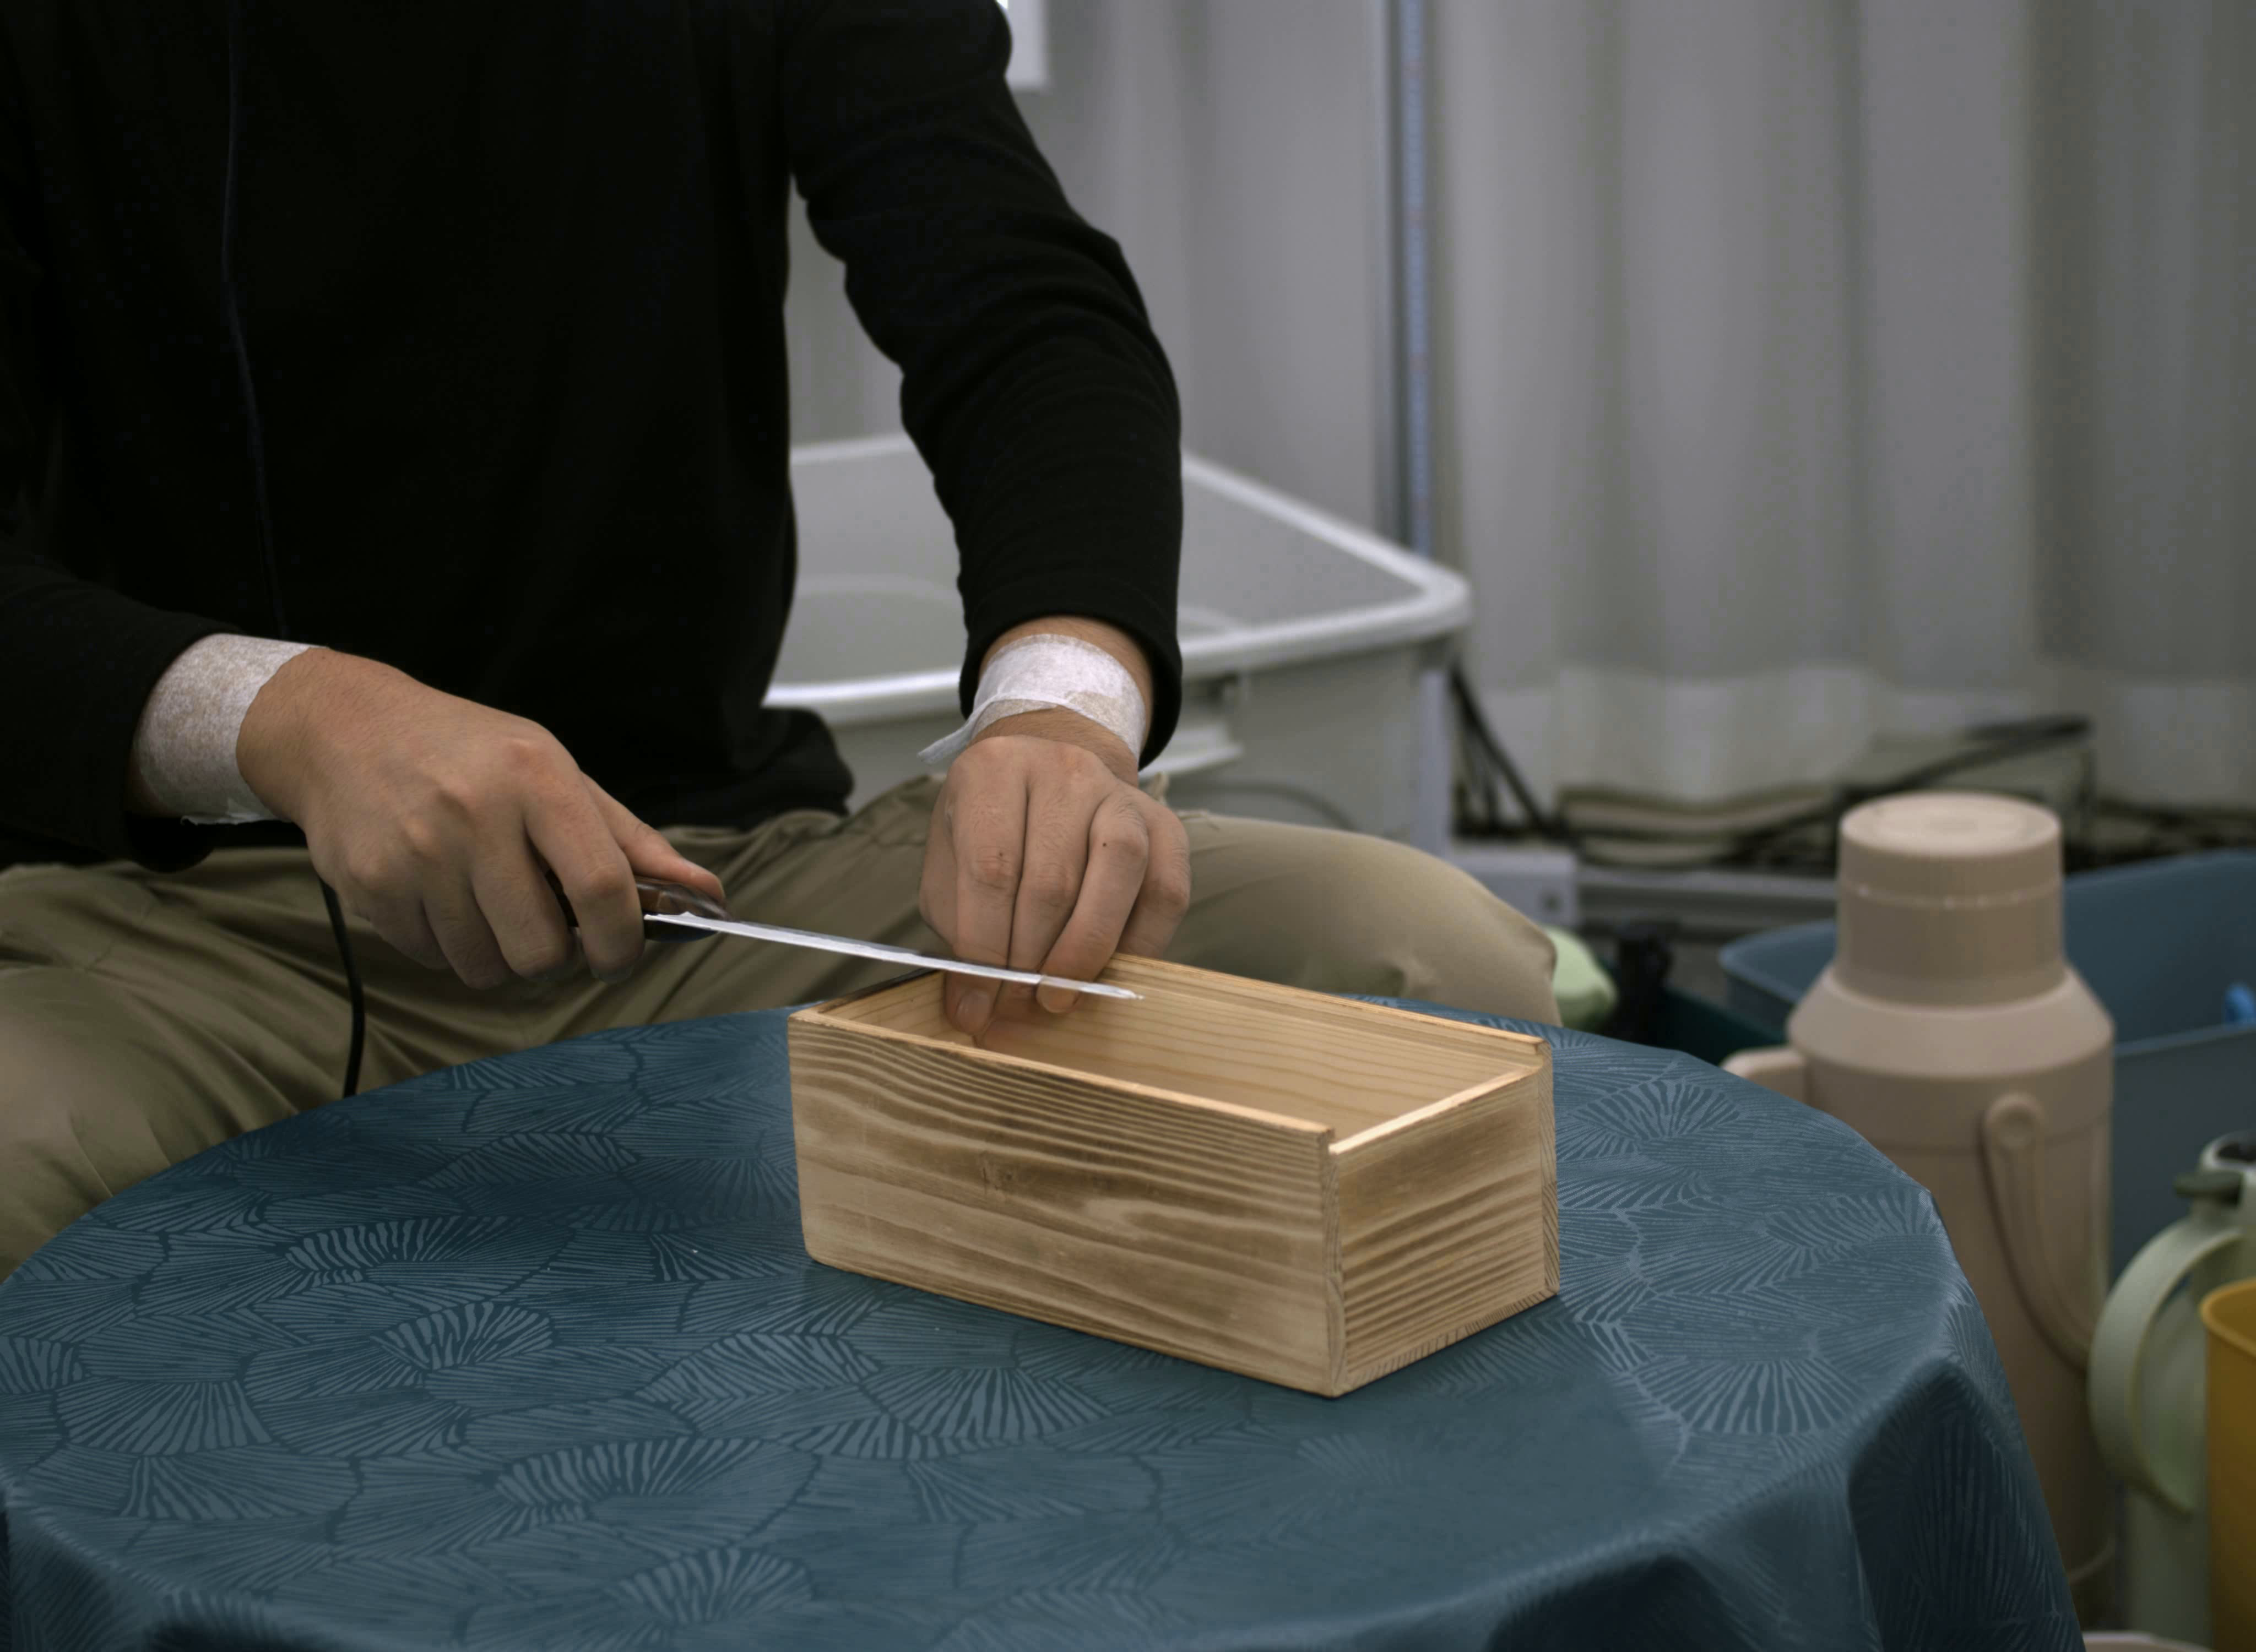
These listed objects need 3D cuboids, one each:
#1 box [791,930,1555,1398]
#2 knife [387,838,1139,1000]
[{"bbox_3d":[0.012,0.097,1.625,0.212,0.080,0.107,11,19,41],"label":"box"},{"bbox_3d":[-0.118,0.032,1.701,0.290,0.020,0.050,9,4,32],"label":"knife"}]
